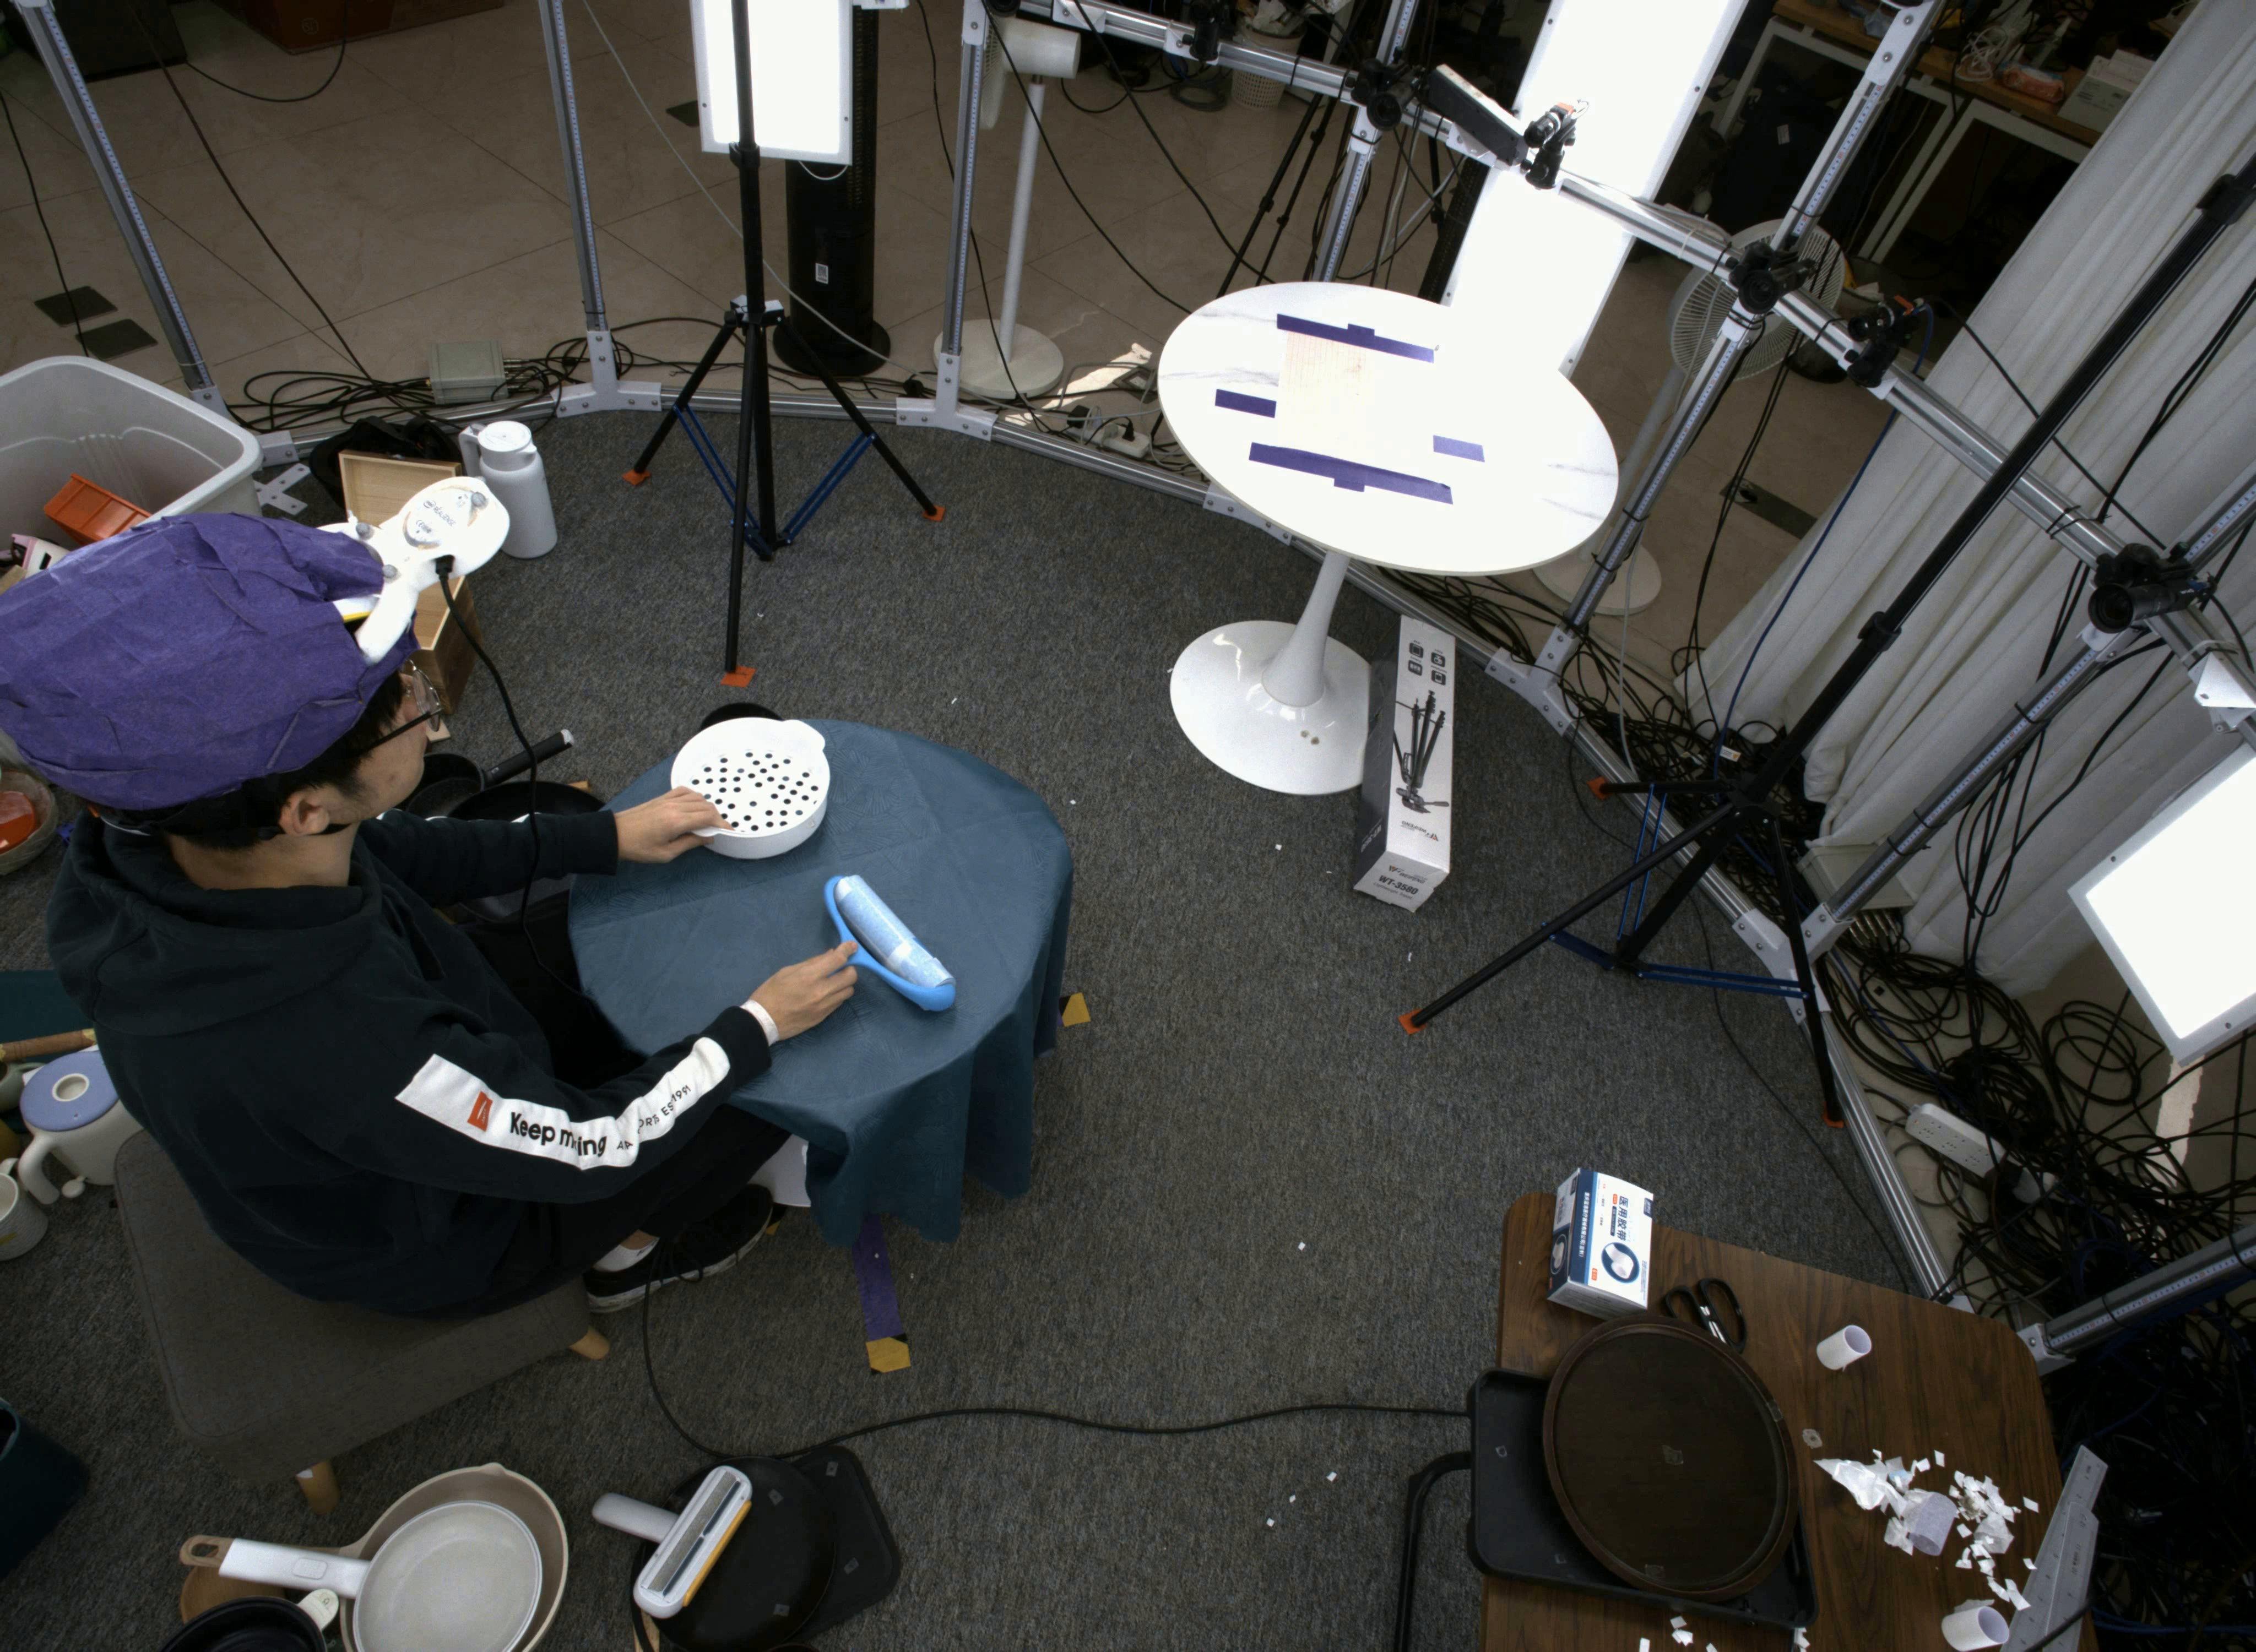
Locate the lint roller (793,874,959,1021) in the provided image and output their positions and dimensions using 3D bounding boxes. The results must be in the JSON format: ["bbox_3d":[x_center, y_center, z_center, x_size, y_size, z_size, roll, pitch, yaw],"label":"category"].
[{"bbox_3d":[-0.334,0.169,1.594,0.225,0.069,0.180,42,54,14],"label":"lint roller"}]

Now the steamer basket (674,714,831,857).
[{"bbox_3d":[-0.493,-0.053,1.707,0.198,0.070,0.230,34,54,12],"label":"steamer basket"}]
